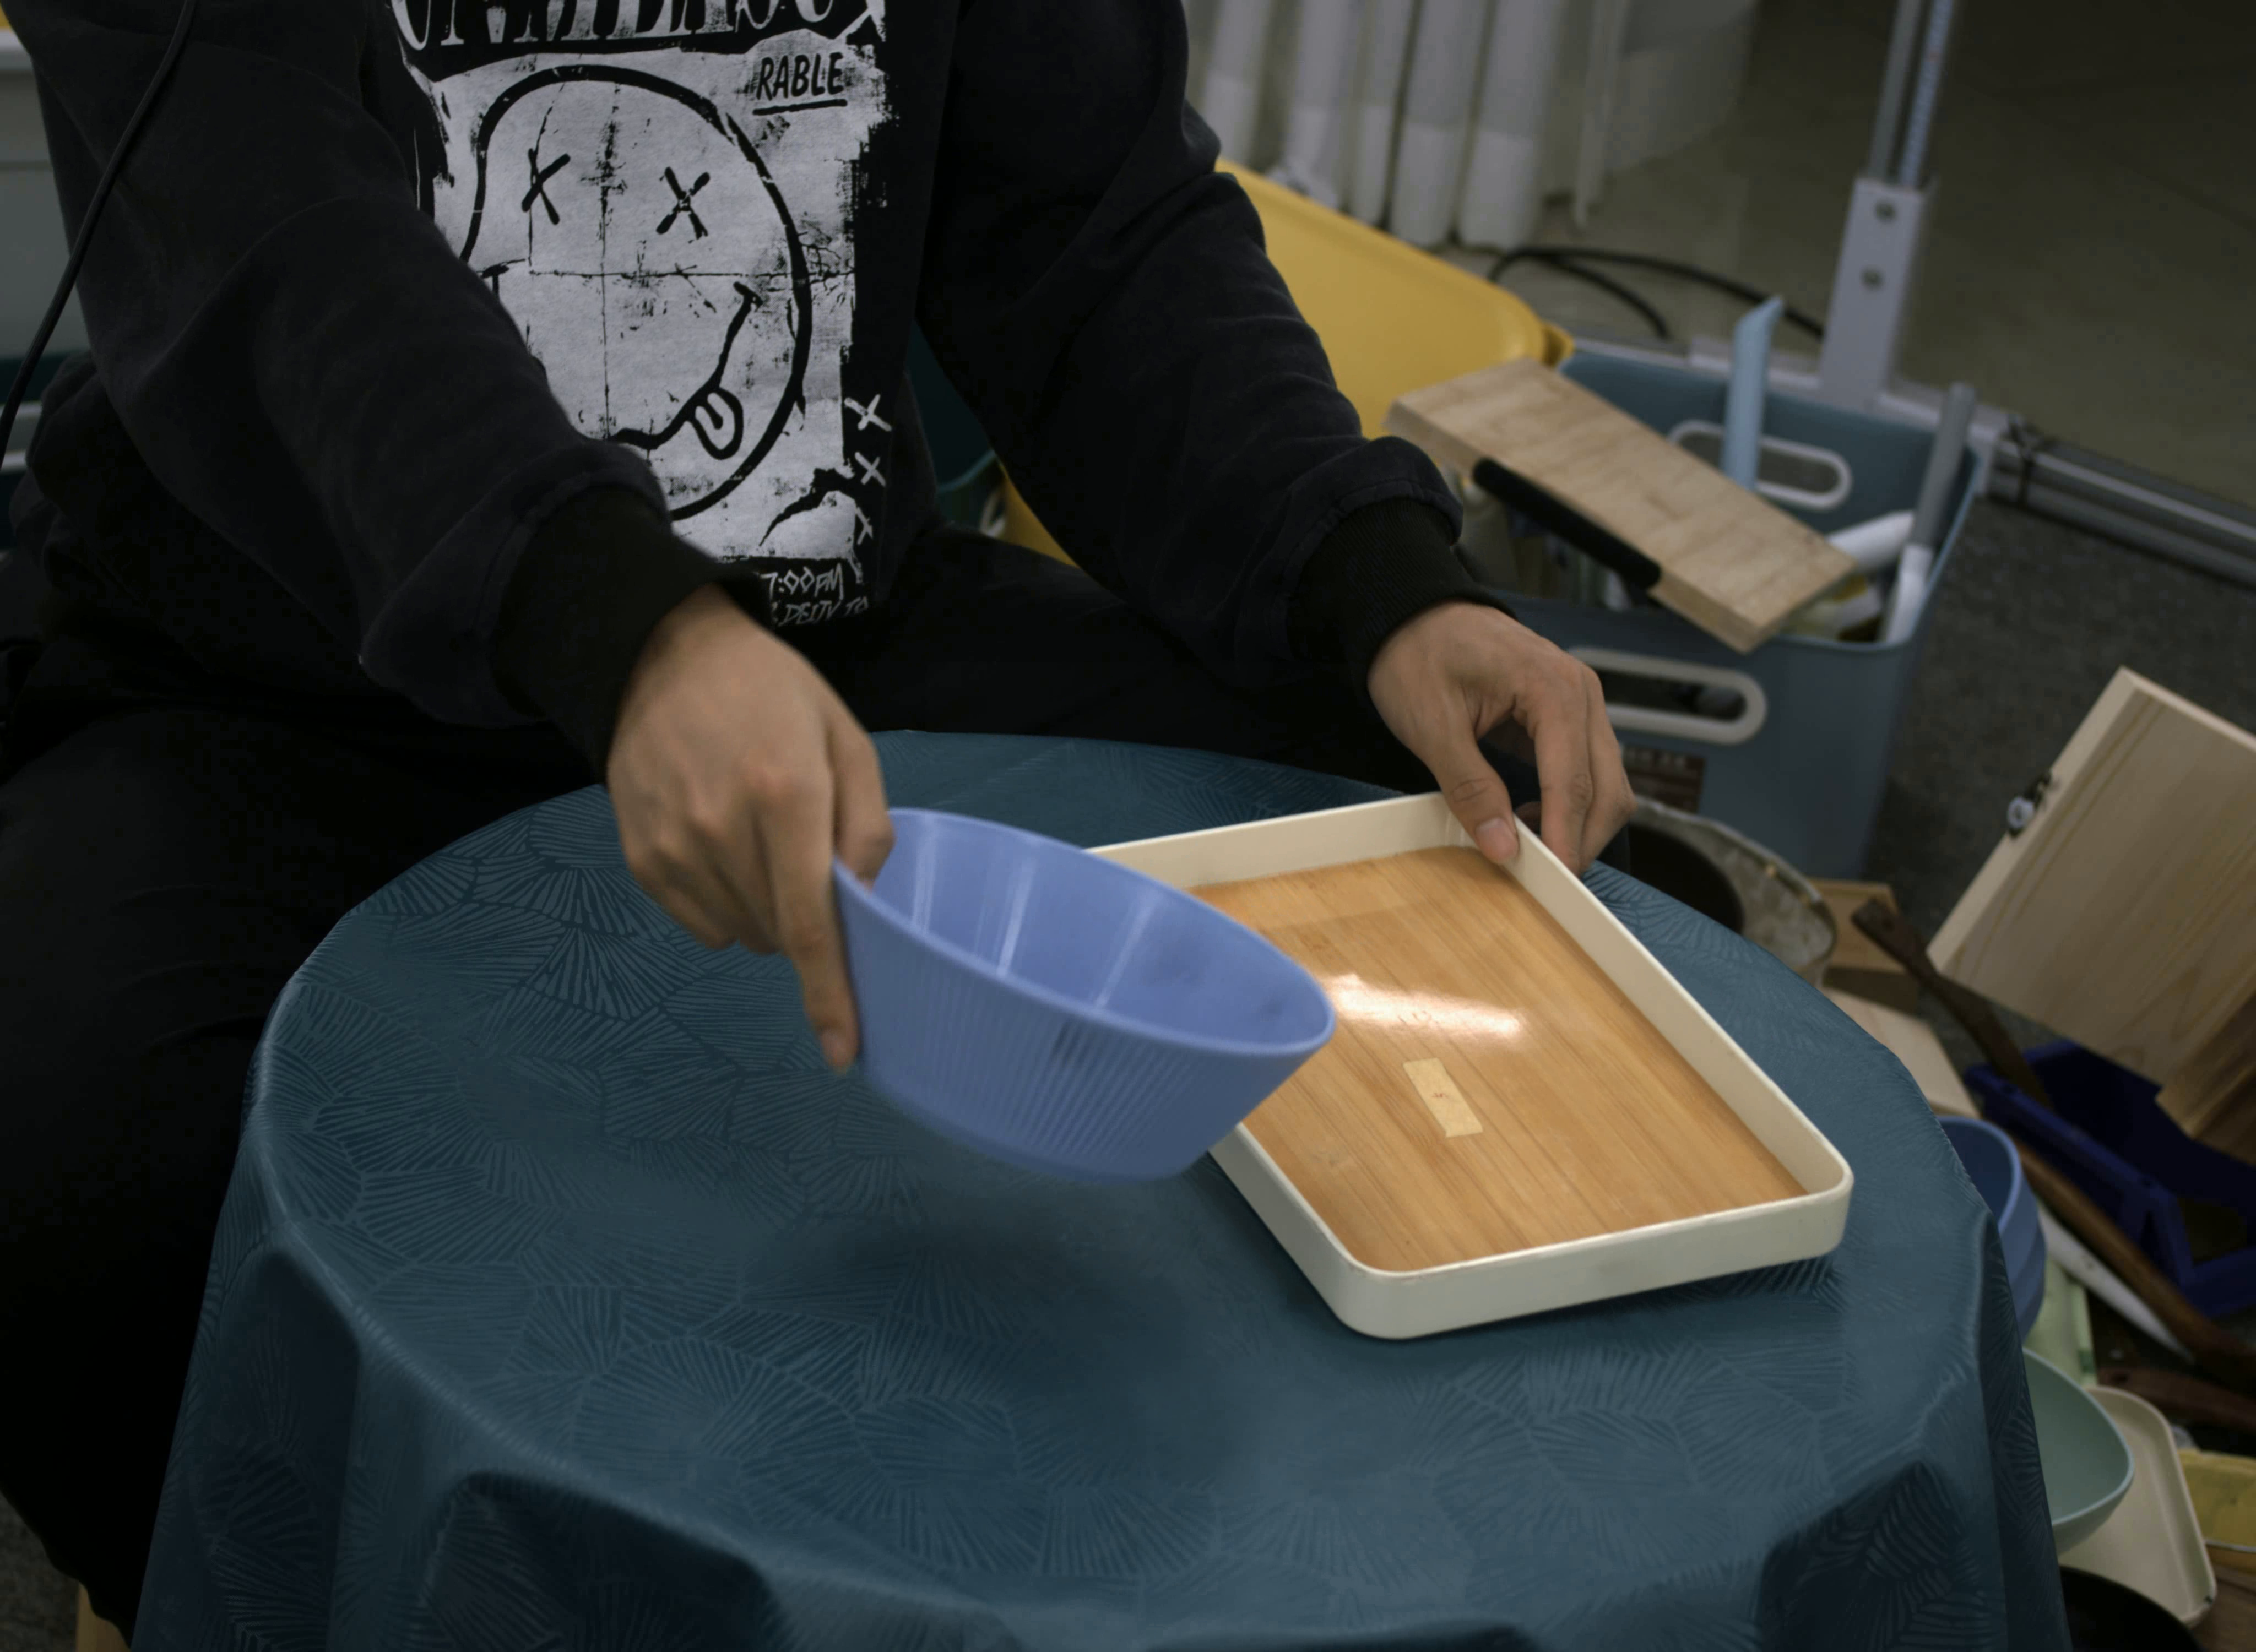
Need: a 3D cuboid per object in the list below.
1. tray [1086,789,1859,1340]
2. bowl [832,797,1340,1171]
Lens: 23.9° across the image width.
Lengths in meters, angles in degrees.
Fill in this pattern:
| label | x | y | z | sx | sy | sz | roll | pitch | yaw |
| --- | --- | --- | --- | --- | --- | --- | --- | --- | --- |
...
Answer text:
| label | x | y | z | sx | sy | sz | roll | pitch | yaw |
| --- | --- | --- | --- | --- | --- | --- | --- | --- | --- |
| tray | 0.106 | 0.078 | 1.872 | 0.190 | 0.027 | 0.303 | -10 | 31 | -20 |
| bowl | -0.024 | 0.056 | 1.716 | 0.175 | 0.070 | 0.176 | 21 | 13 | -5 |
